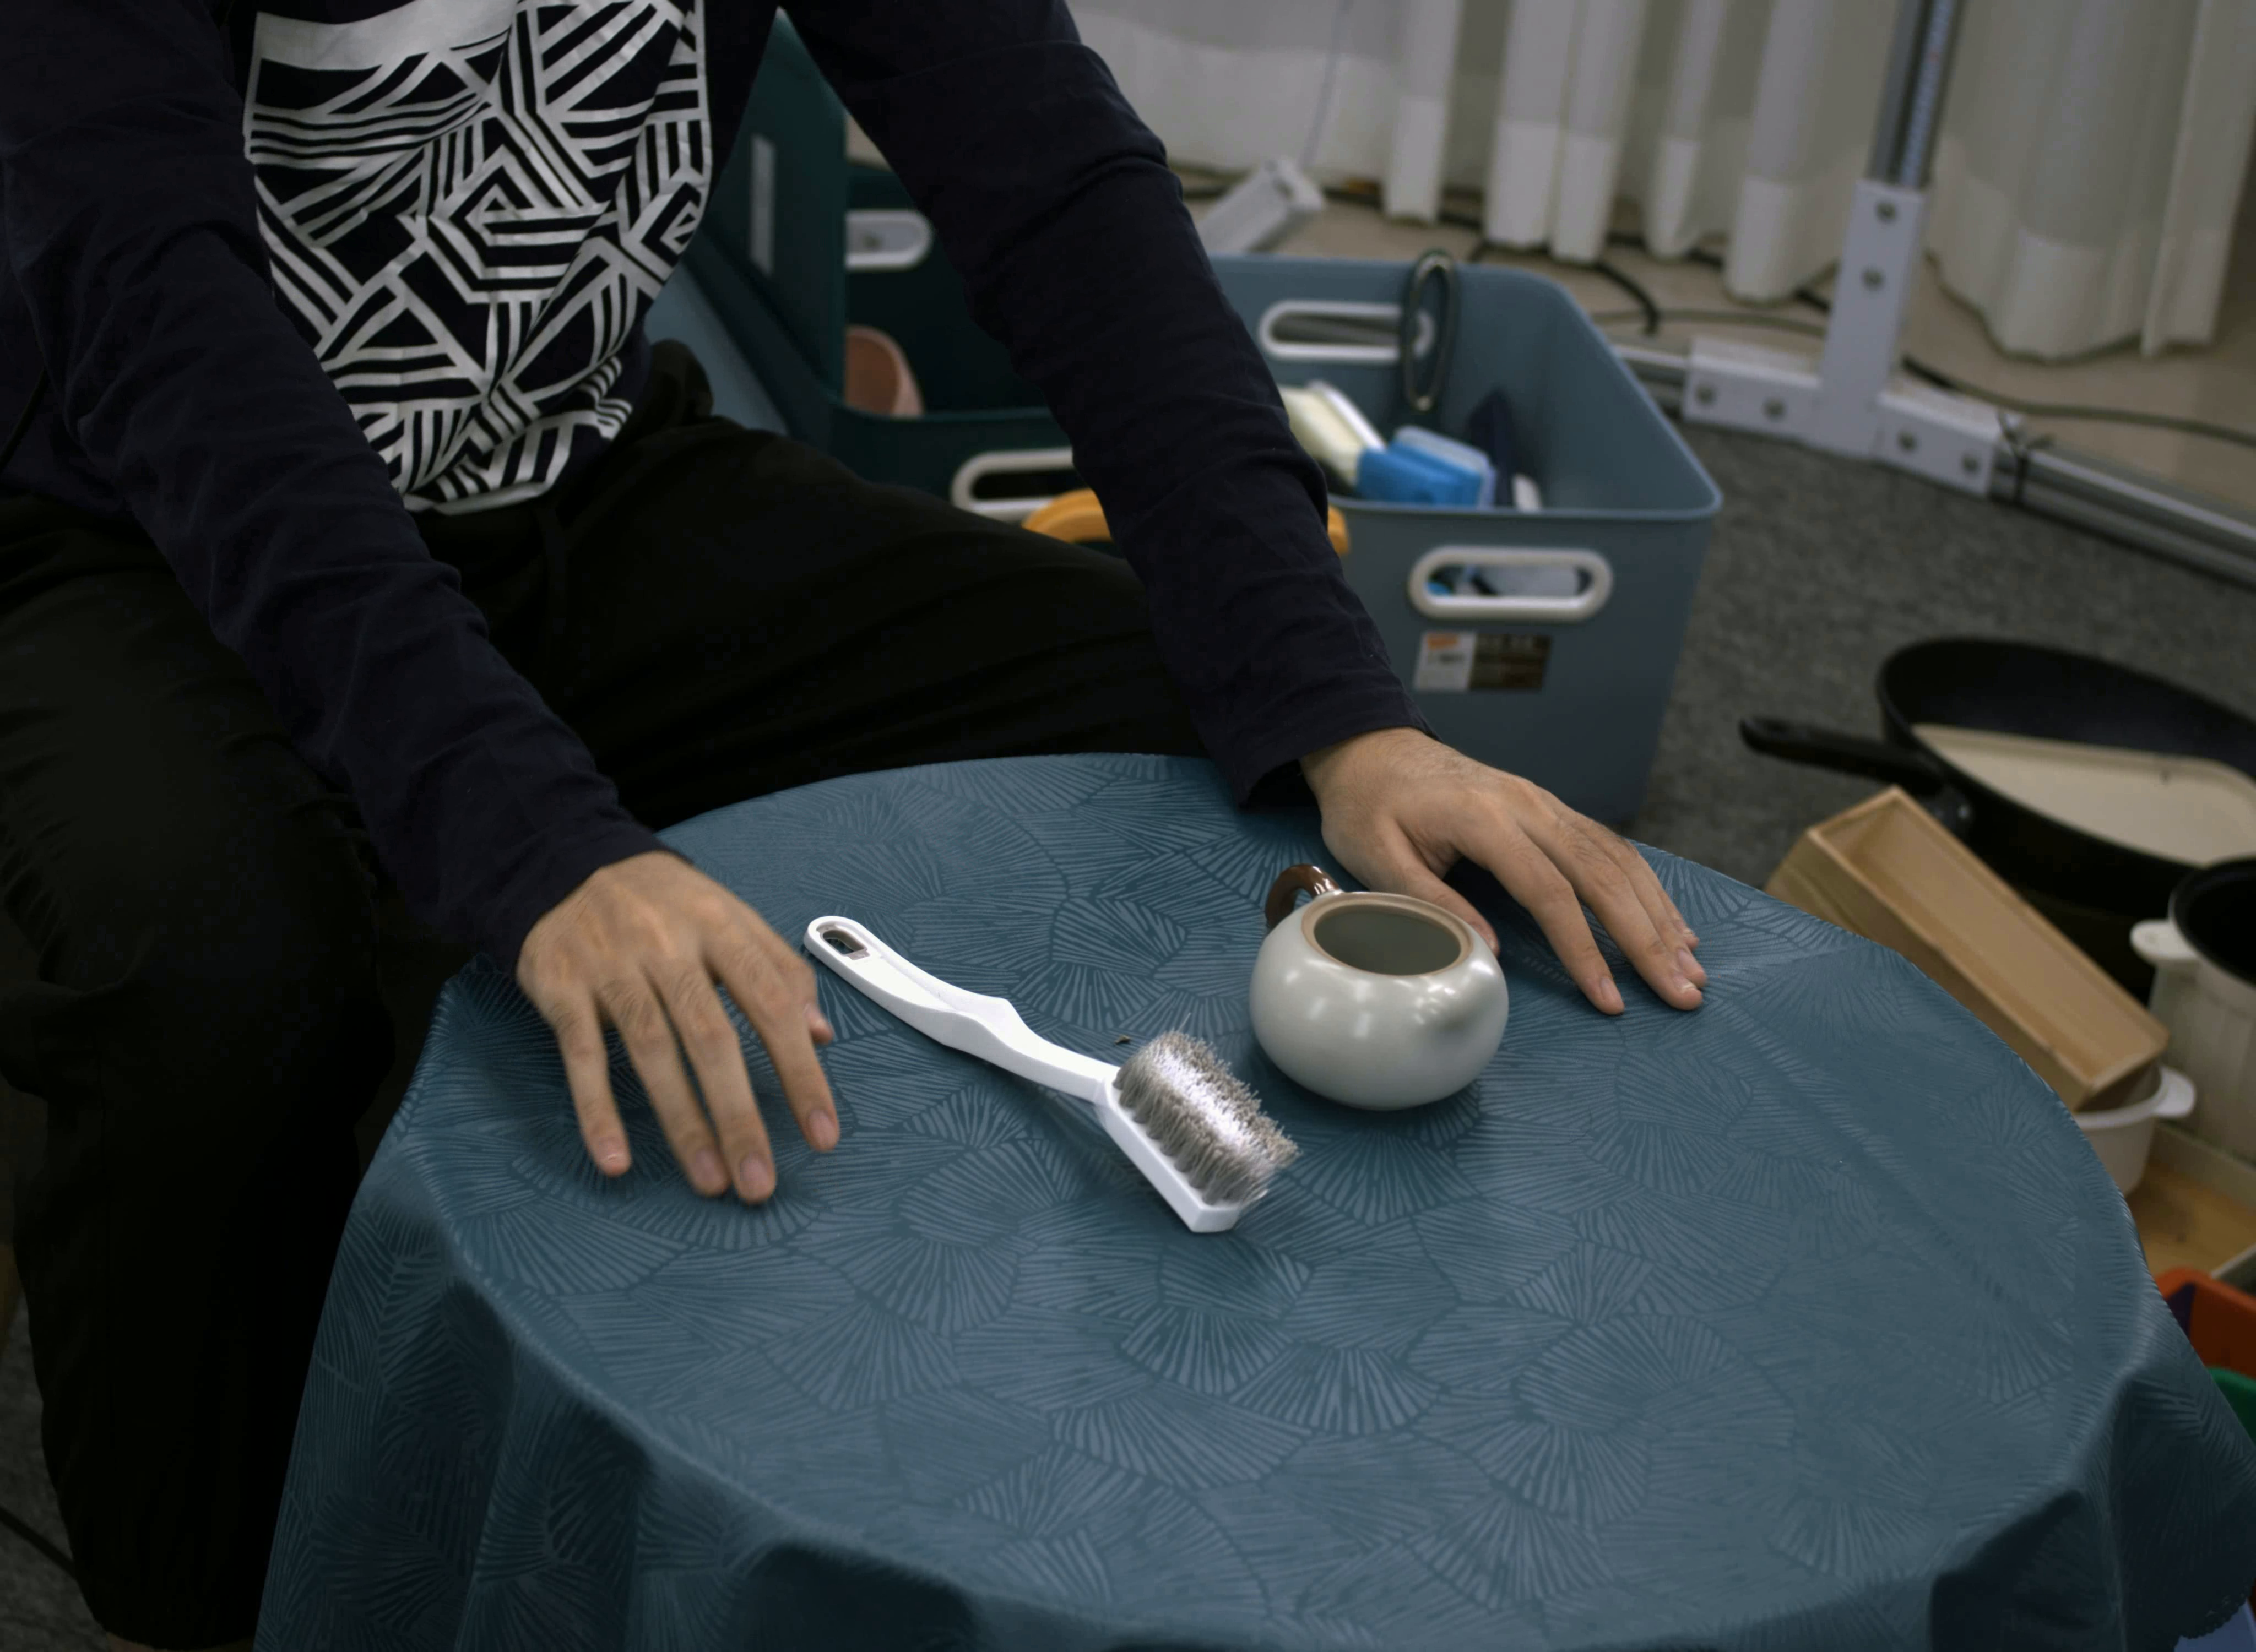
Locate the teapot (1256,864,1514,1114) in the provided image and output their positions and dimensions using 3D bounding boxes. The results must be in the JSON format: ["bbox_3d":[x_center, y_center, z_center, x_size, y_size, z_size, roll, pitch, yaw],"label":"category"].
[{"bbox_3d":[0.086,0.059,1.891,0.091,0.059,0.129,-14,35,-28],"label":"teapot"}]

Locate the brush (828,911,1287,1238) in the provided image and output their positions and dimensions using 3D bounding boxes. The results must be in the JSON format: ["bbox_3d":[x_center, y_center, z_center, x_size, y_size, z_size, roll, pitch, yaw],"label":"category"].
[{"bbox_3d":[-0.030,0.069,1.855,0.034,0.050,0.246,-18,36,-32],"label":"brush"}]
